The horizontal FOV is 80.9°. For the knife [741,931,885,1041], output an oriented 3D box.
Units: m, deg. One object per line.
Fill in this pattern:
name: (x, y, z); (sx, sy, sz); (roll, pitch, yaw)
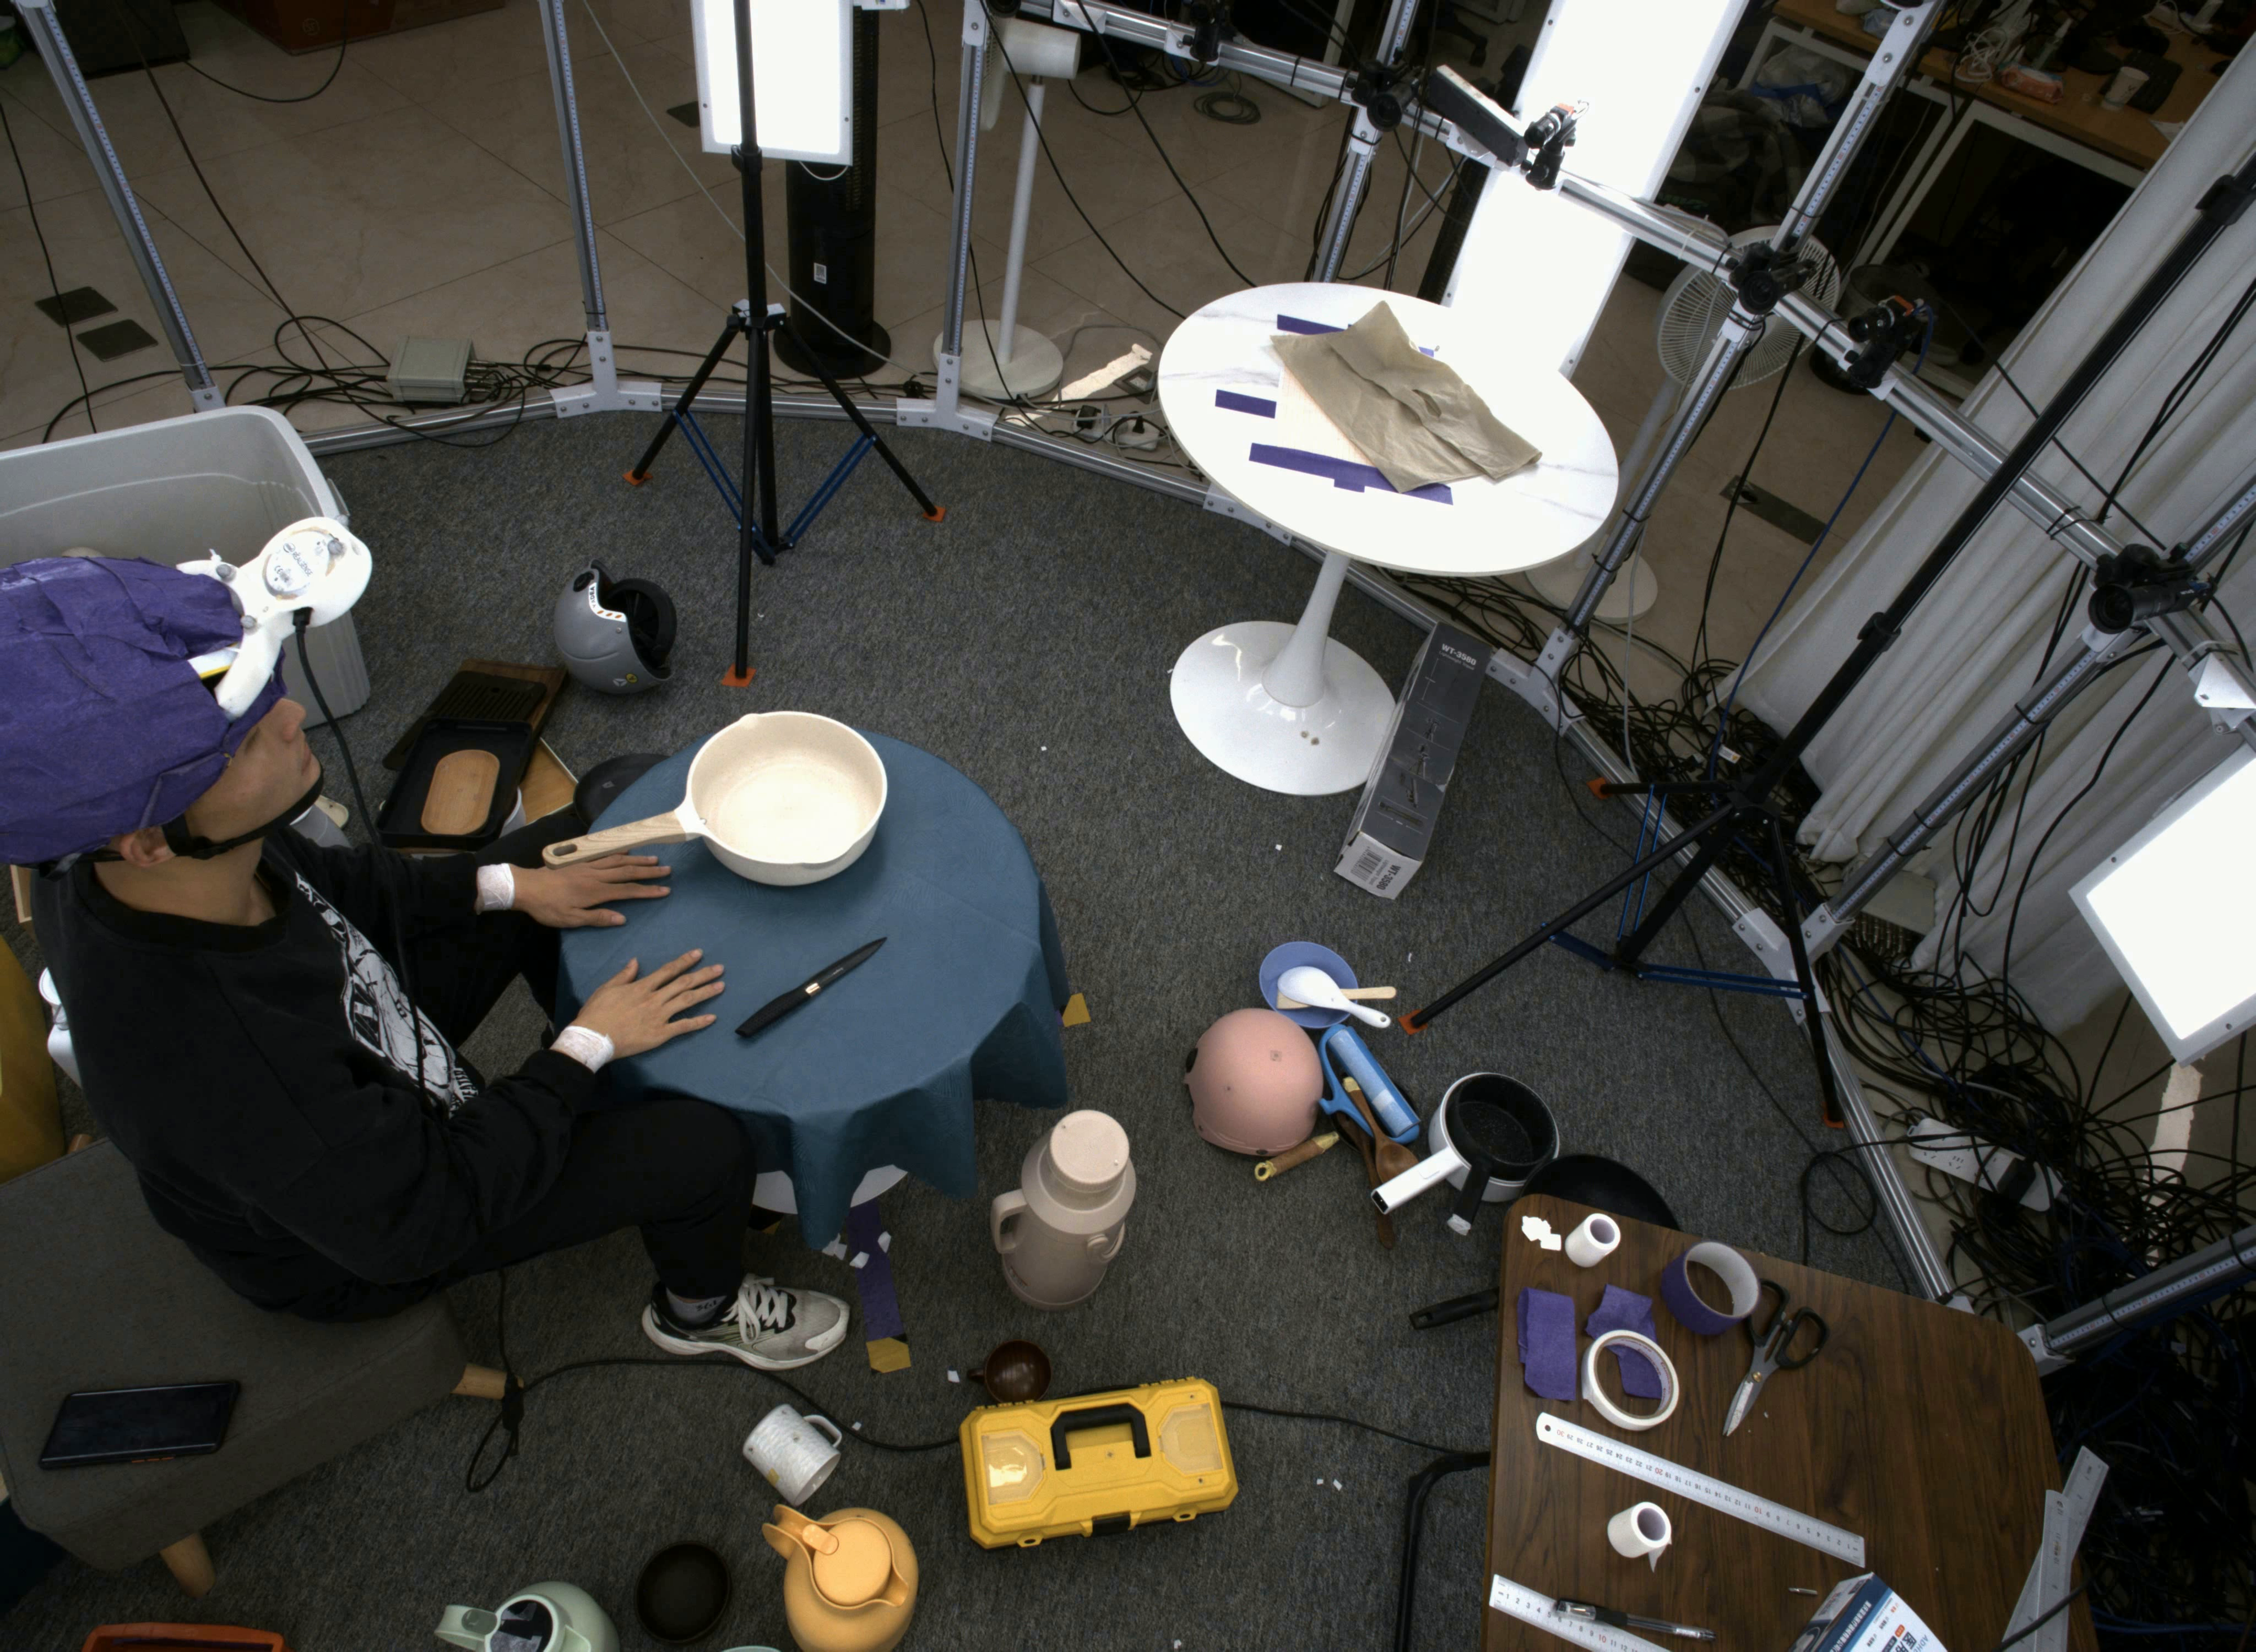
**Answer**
knife: (-0.380, 0.190, 1.585); (0.025, 0.018, 0.226); (30, 49, 30)

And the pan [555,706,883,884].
pan: (-0.519, -0.007, 1.637); (0.437, 0.104, 0.257); (-23, 64, -28)
